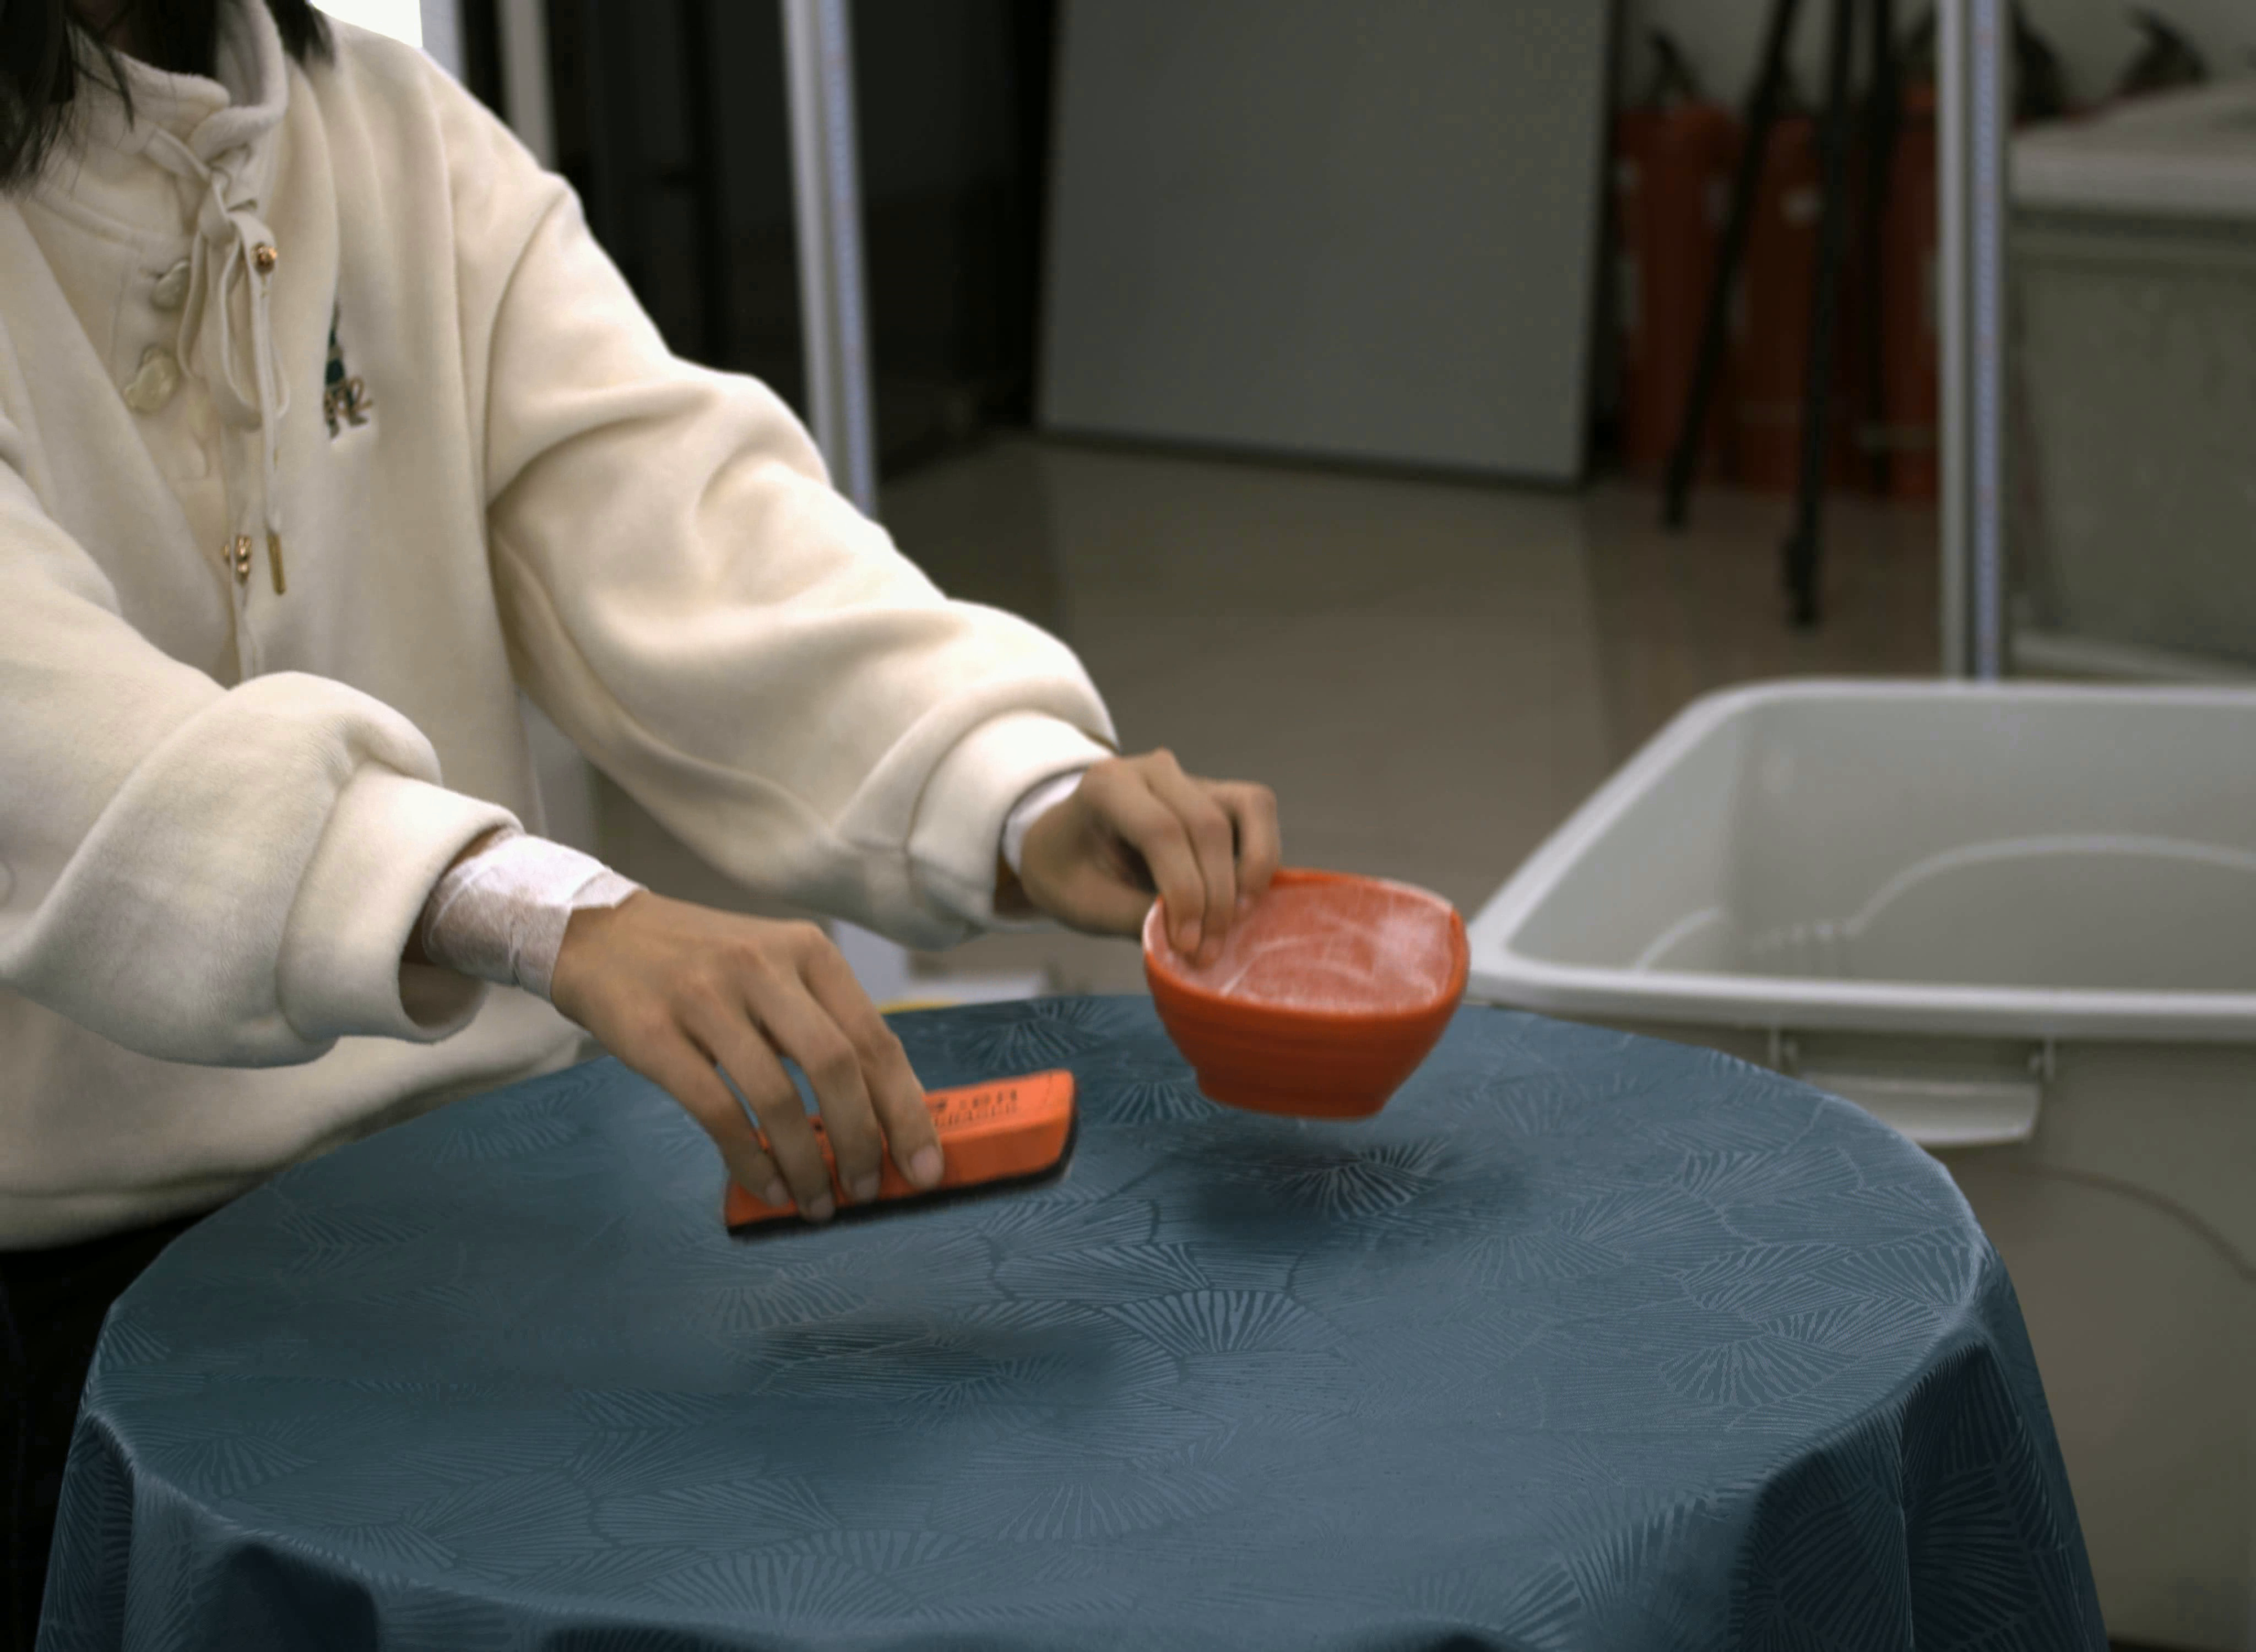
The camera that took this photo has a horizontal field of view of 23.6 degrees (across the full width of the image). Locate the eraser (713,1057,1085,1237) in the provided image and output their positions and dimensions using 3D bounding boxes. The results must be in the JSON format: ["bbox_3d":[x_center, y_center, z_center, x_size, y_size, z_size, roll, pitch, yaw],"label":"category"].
[{"bbox_3d":[-0.069,0.097,1.639,0.107,0.023,0.059,-12,14,14],"label":"eraser"}]

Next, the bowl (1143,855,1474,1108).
[{"bbox_3d":[0.059,0.055,1.775,0.117,0.052,0.119,1,24,-1],"label":"bowl"}]
